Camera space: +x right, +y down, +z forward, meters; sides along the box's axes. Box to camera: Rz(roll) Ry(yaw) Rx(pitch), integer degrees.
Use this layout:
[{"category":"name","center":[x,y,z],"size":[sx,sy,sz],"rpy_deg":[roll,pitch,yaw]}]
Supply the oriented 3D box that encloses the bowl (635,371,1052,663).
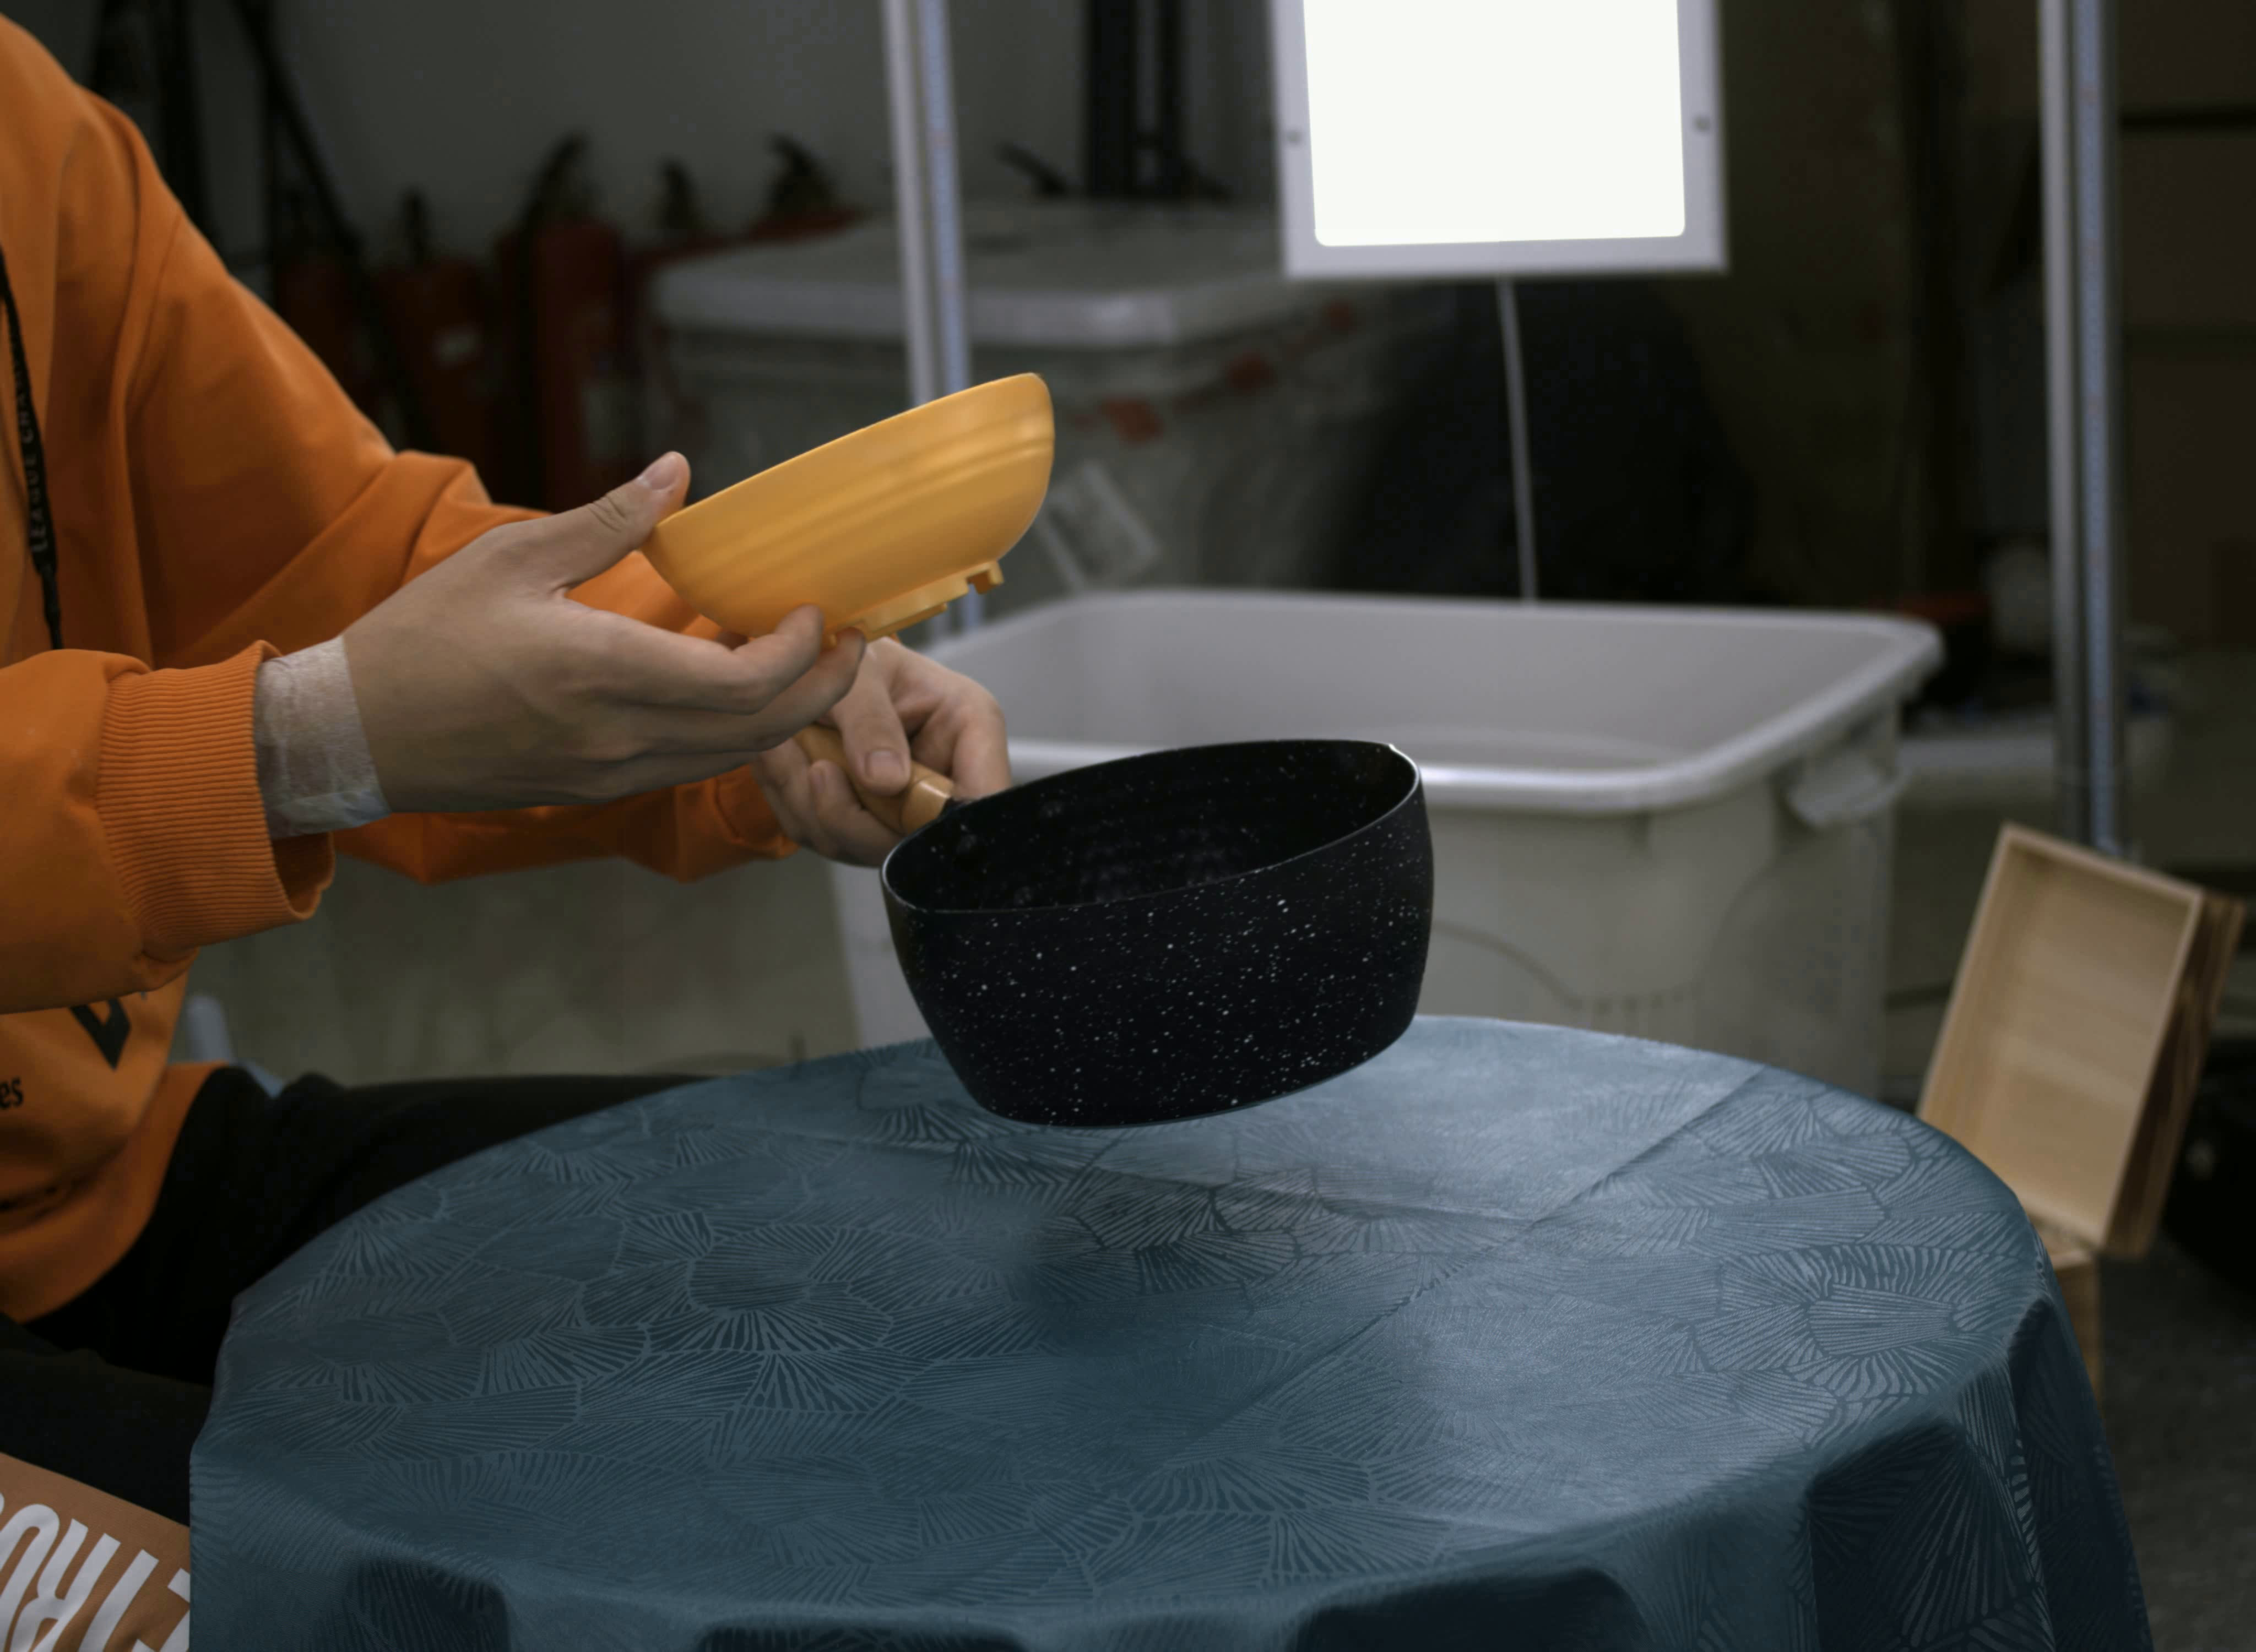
[{"category":"bowl","center":[-0.082,-0.092,1.779],"size":[0.145,0.060,0.145],"rpy_deg":[-23,-2,-3]}]

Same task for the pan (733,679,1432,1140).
[{"category":"pan","center":[-0.035,0.019,1.901],"size":[0.203,0.108,0.350],"rpy_deg":[-22,19,-31]}]
